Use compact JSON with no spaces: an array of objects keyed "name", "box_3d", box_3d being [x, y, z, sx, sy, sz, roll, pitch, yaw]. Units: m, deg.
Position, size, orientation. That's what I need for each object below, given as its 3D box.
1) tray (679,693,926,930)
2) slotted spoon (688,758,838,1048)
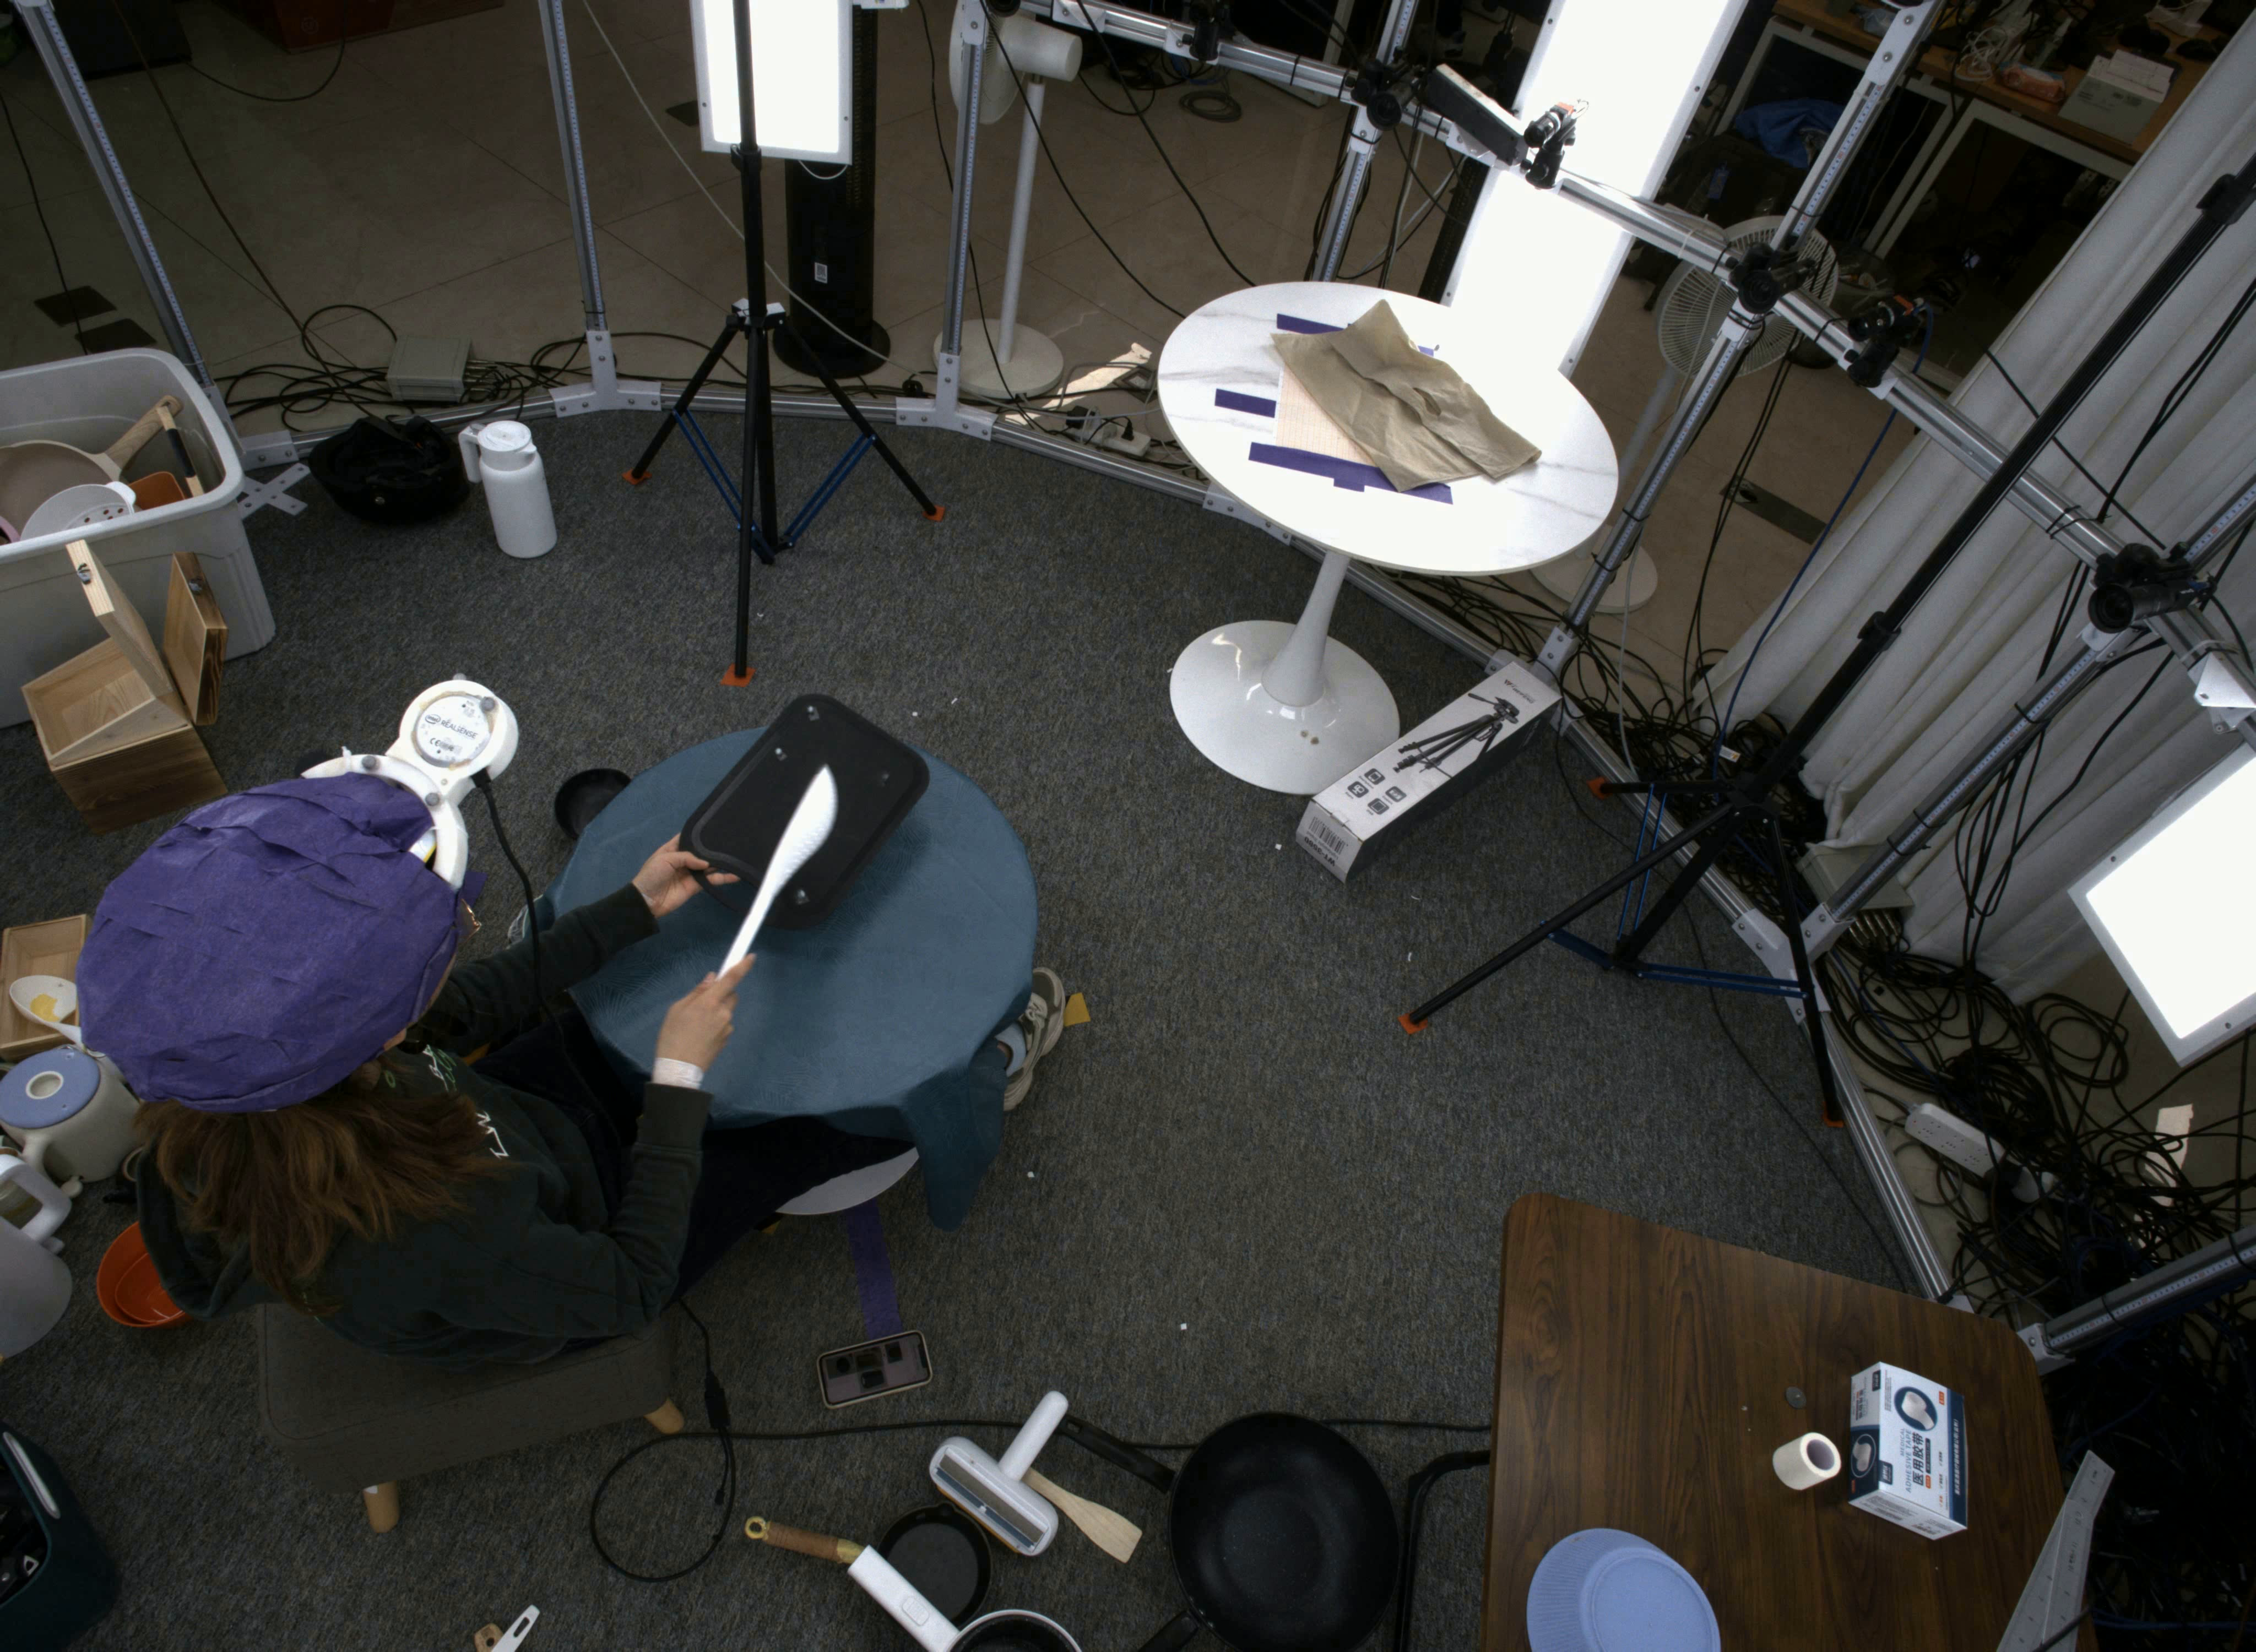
[{"name":"tray","box_3d":[-0.407,-0.021,1.630,0.211,0.010,0.324,35,56,-4]},{"name":"slotted spoon","box_3d":[-0.404,0.080,1.435,0.046,0.135,0.349,31,67,-11]}]
